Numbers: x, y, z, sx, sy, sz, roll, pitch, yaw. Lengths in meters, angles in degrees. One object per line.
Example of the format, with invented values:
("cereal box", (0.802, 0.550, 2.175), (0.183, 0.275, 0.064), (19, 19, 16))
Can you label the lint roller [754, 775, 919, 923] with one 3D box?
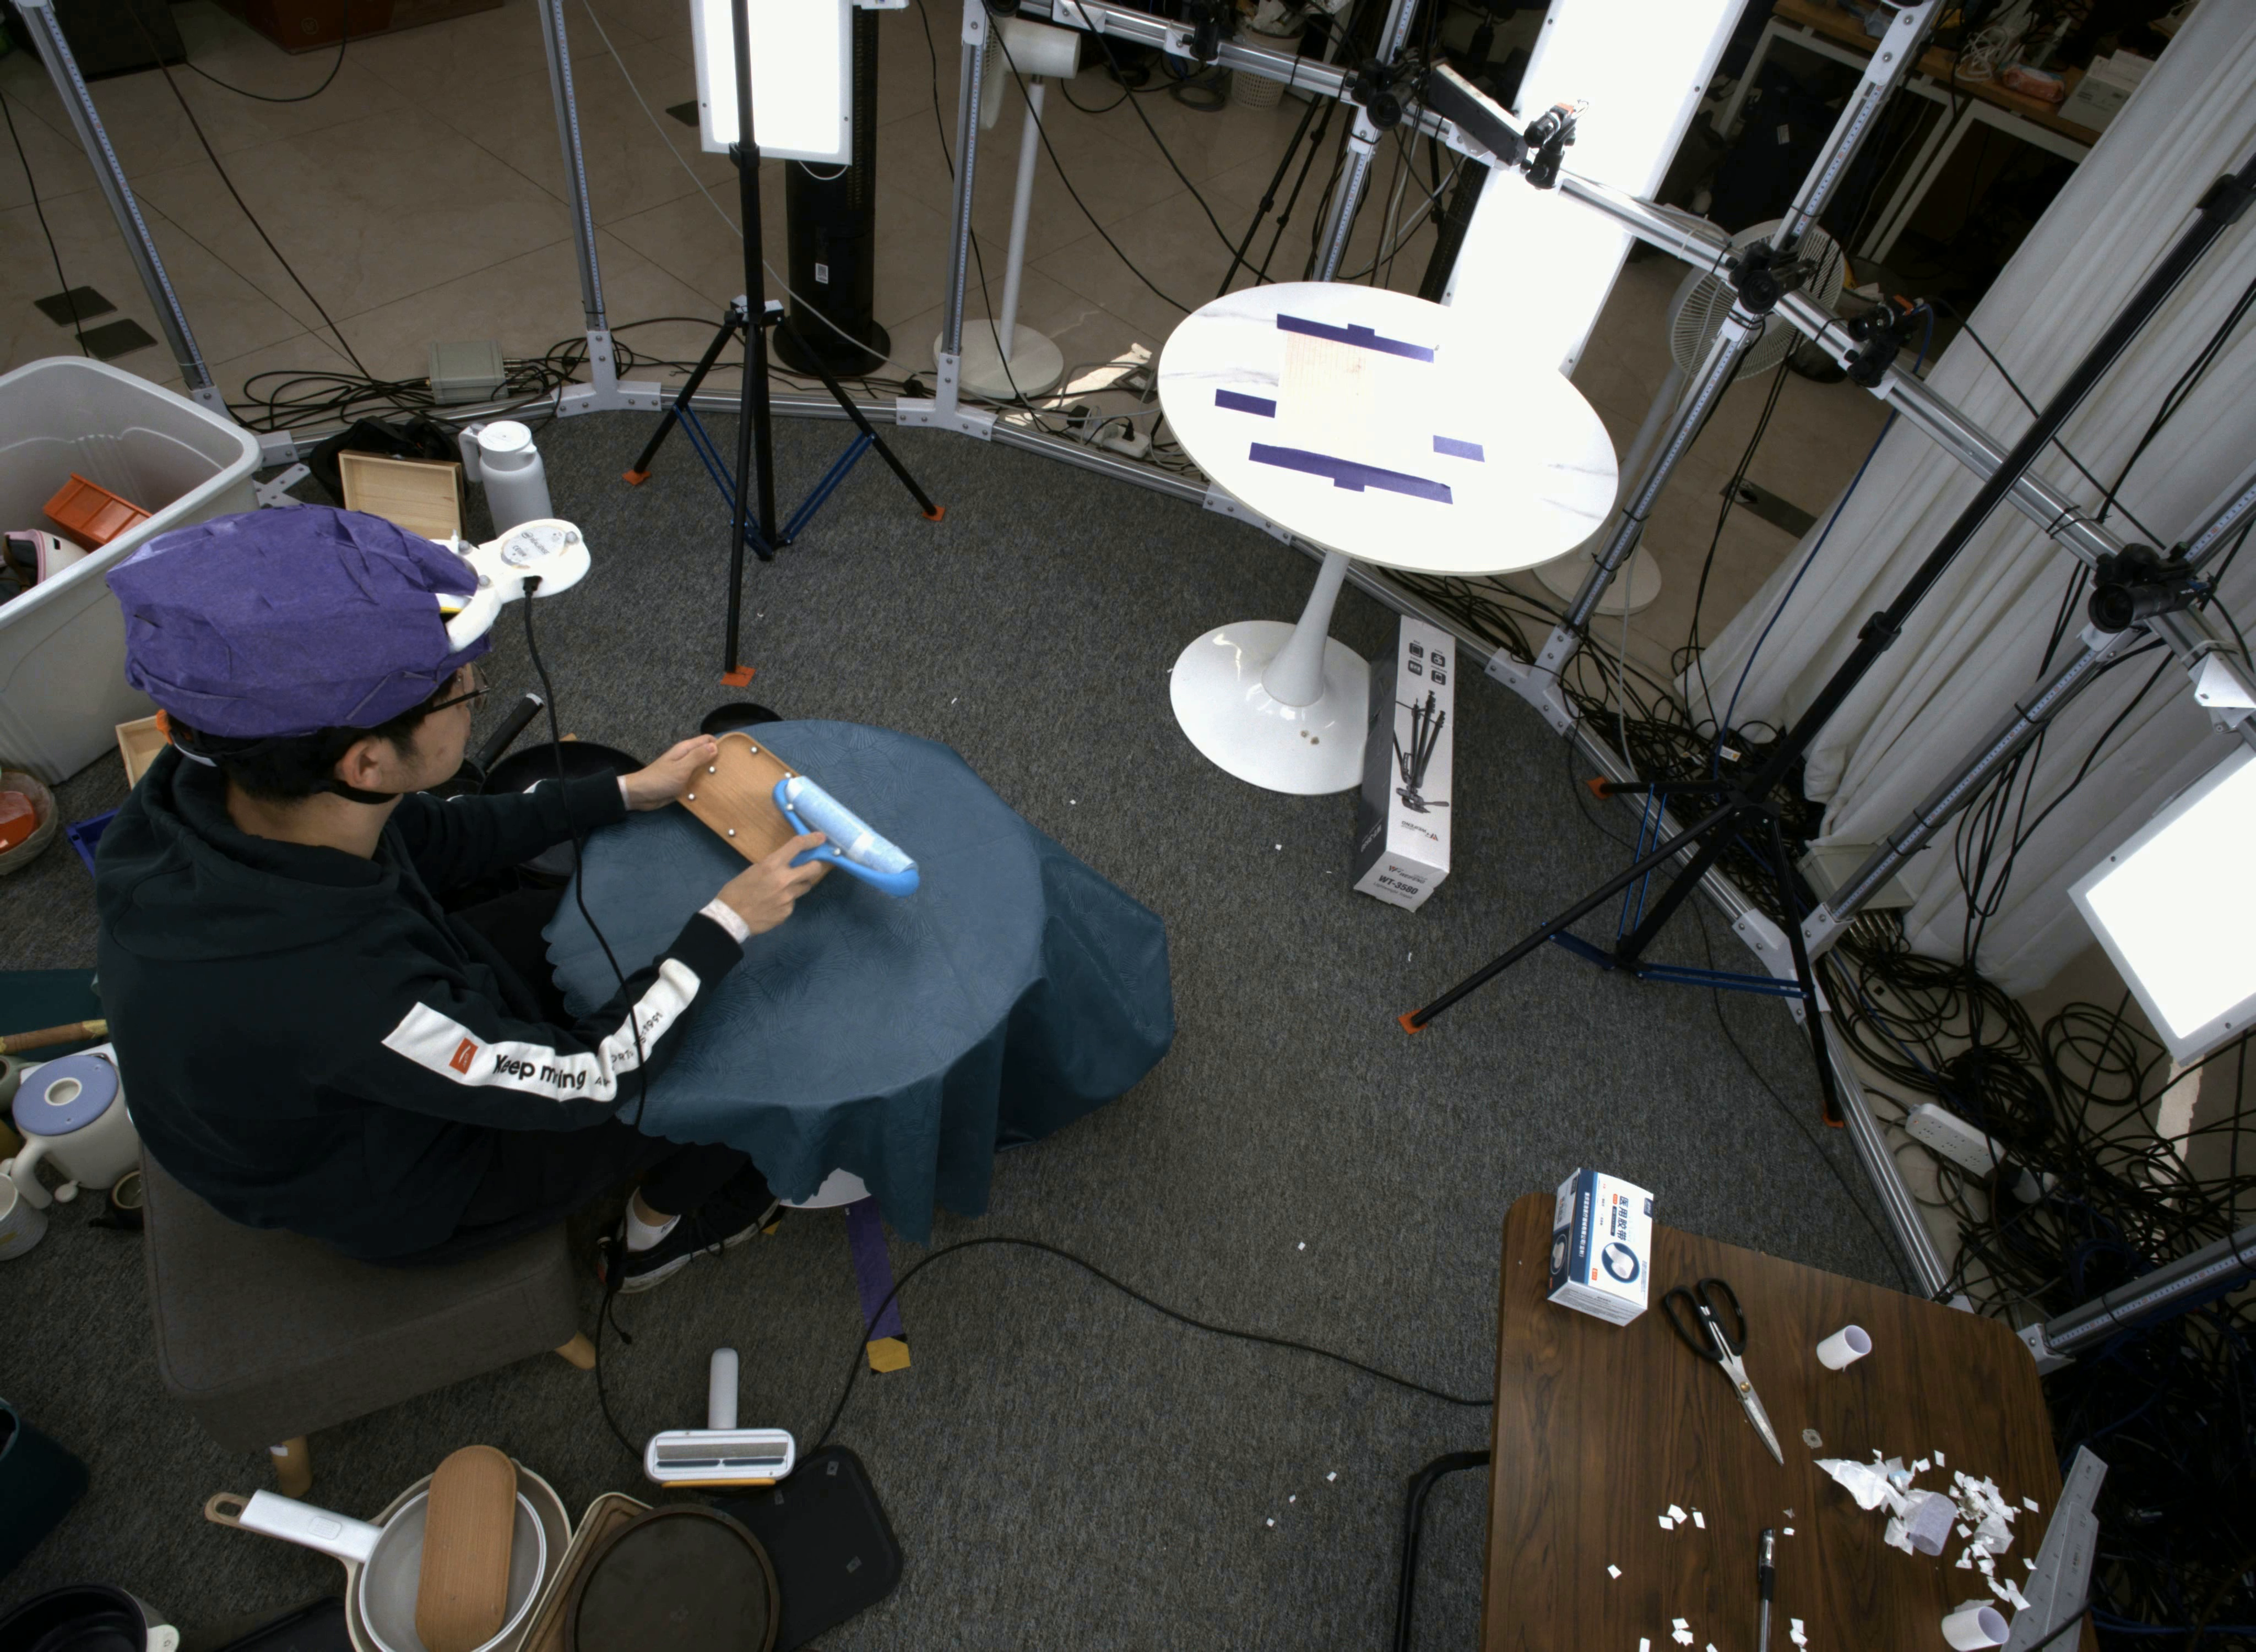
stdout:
("lint roller", (-0.386, 0.044, 1.586), (0.225, 0.069, 0.180), (35, 52, 9))

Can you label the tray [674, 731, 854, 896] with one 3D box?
("tray", (-0.468, -0.019, 1.670), (0.245, 0.023, 0.130), (37, 72, 14))
